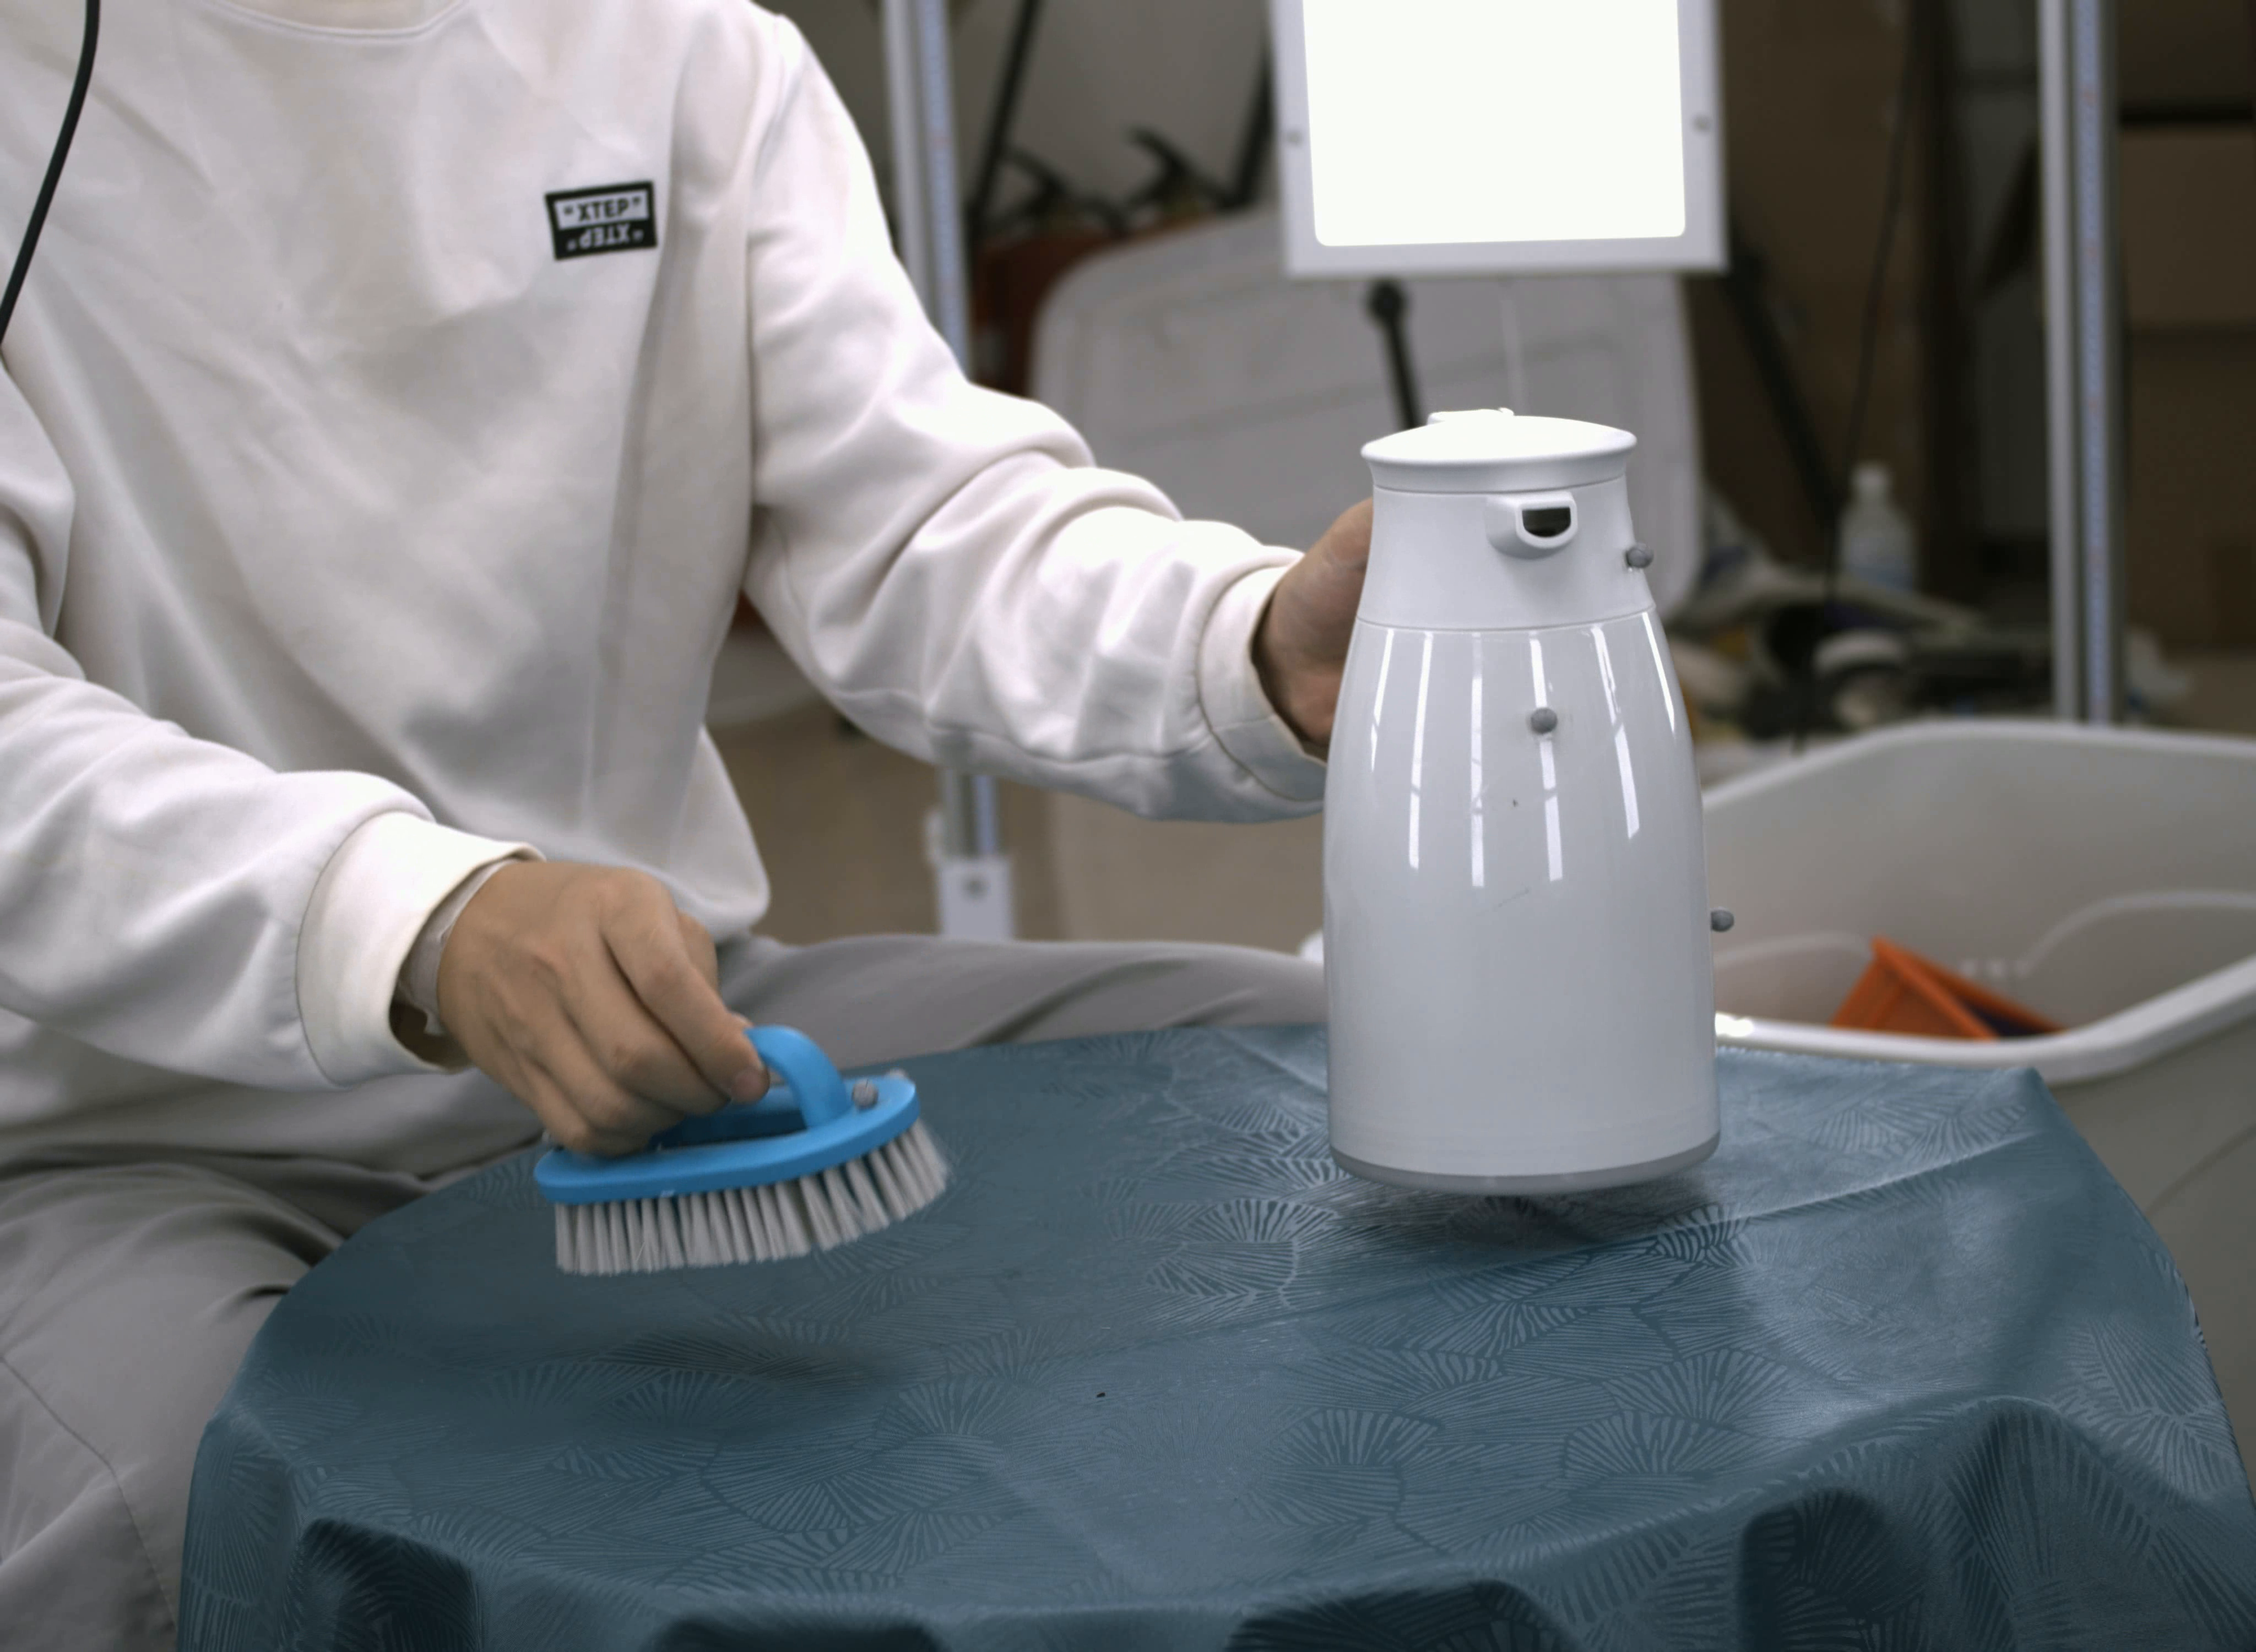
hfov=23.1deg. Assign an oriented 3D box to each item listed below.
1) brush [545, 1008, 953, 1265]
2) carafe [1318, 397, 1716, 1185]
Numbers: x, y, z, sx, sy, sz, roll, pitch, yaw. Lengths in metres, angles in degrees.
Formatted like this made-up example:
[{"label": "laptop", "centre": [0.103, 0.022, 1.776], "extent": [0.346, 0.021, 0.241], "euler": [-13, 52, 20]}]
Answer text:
[{"label": "brush", "centre": [-0.128, 0.091, 1.745], "extent": [0.145, 0.064, 0.082], "euler": [-8, 20, 38]}, {"label": "carafe", "centre": [0.122, -0.018, 1.846], "extent": [0.131, 0.249, 0.169], "euler": [-5, 9, -10]}]
